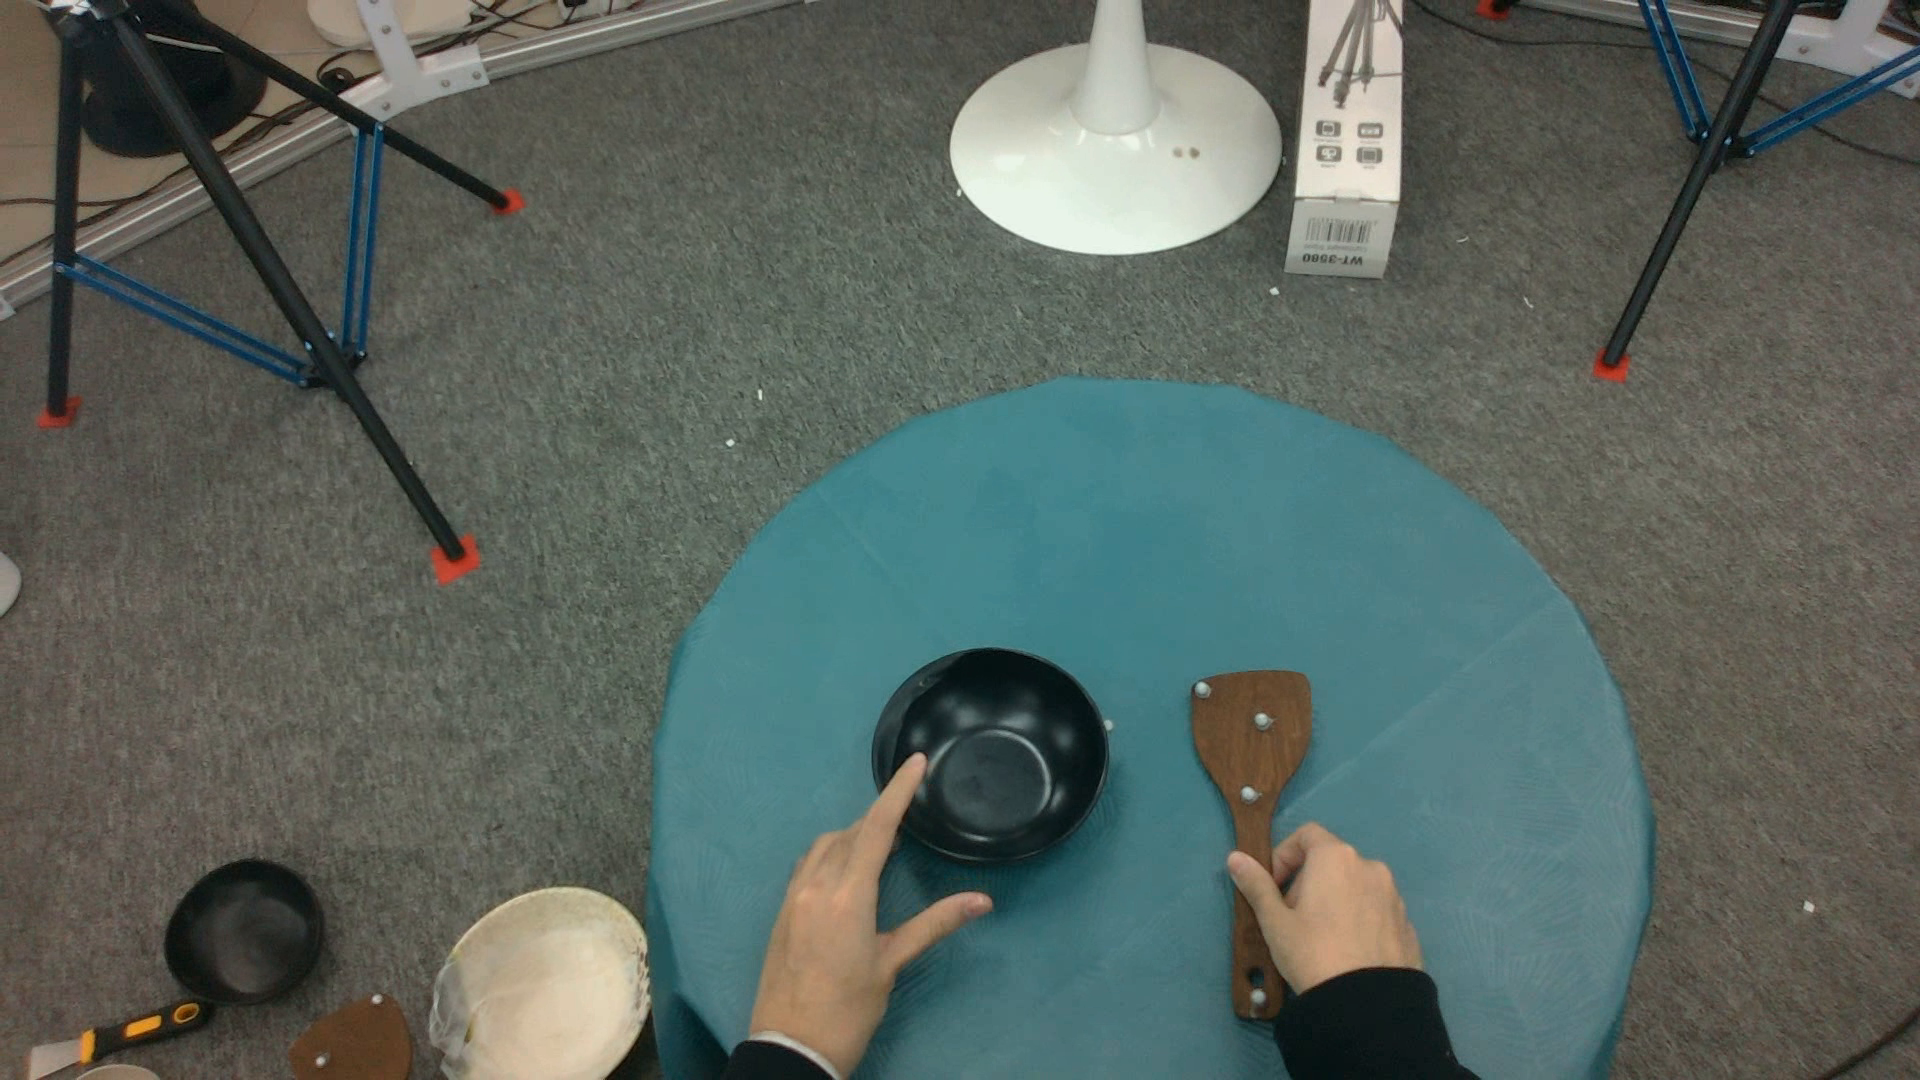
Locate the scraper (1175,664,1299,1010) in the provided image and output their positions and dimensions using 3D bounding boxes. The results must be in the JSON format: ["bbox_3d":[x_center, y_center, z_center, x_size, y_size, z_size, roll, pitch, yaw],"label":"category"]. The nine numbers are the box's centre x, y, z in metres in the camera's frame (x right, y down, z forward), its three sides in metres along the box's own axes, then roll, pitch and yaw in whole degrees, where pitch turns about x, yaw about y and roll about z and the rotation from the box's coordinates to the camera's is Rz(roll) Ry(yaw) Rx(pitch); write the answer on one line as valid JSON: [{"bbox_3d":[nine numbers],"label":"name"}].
[{"bbox_3d":[0.161,0.165,0.797,0.076,0.011,0.212,-4,53,16],"label":"scraper"}]

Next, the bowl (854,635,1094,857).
[{"bbox_3d":[0.008,0.128,0.813,0.140,0.049,0.140,1,54,-1],"label":"bowl"}]
